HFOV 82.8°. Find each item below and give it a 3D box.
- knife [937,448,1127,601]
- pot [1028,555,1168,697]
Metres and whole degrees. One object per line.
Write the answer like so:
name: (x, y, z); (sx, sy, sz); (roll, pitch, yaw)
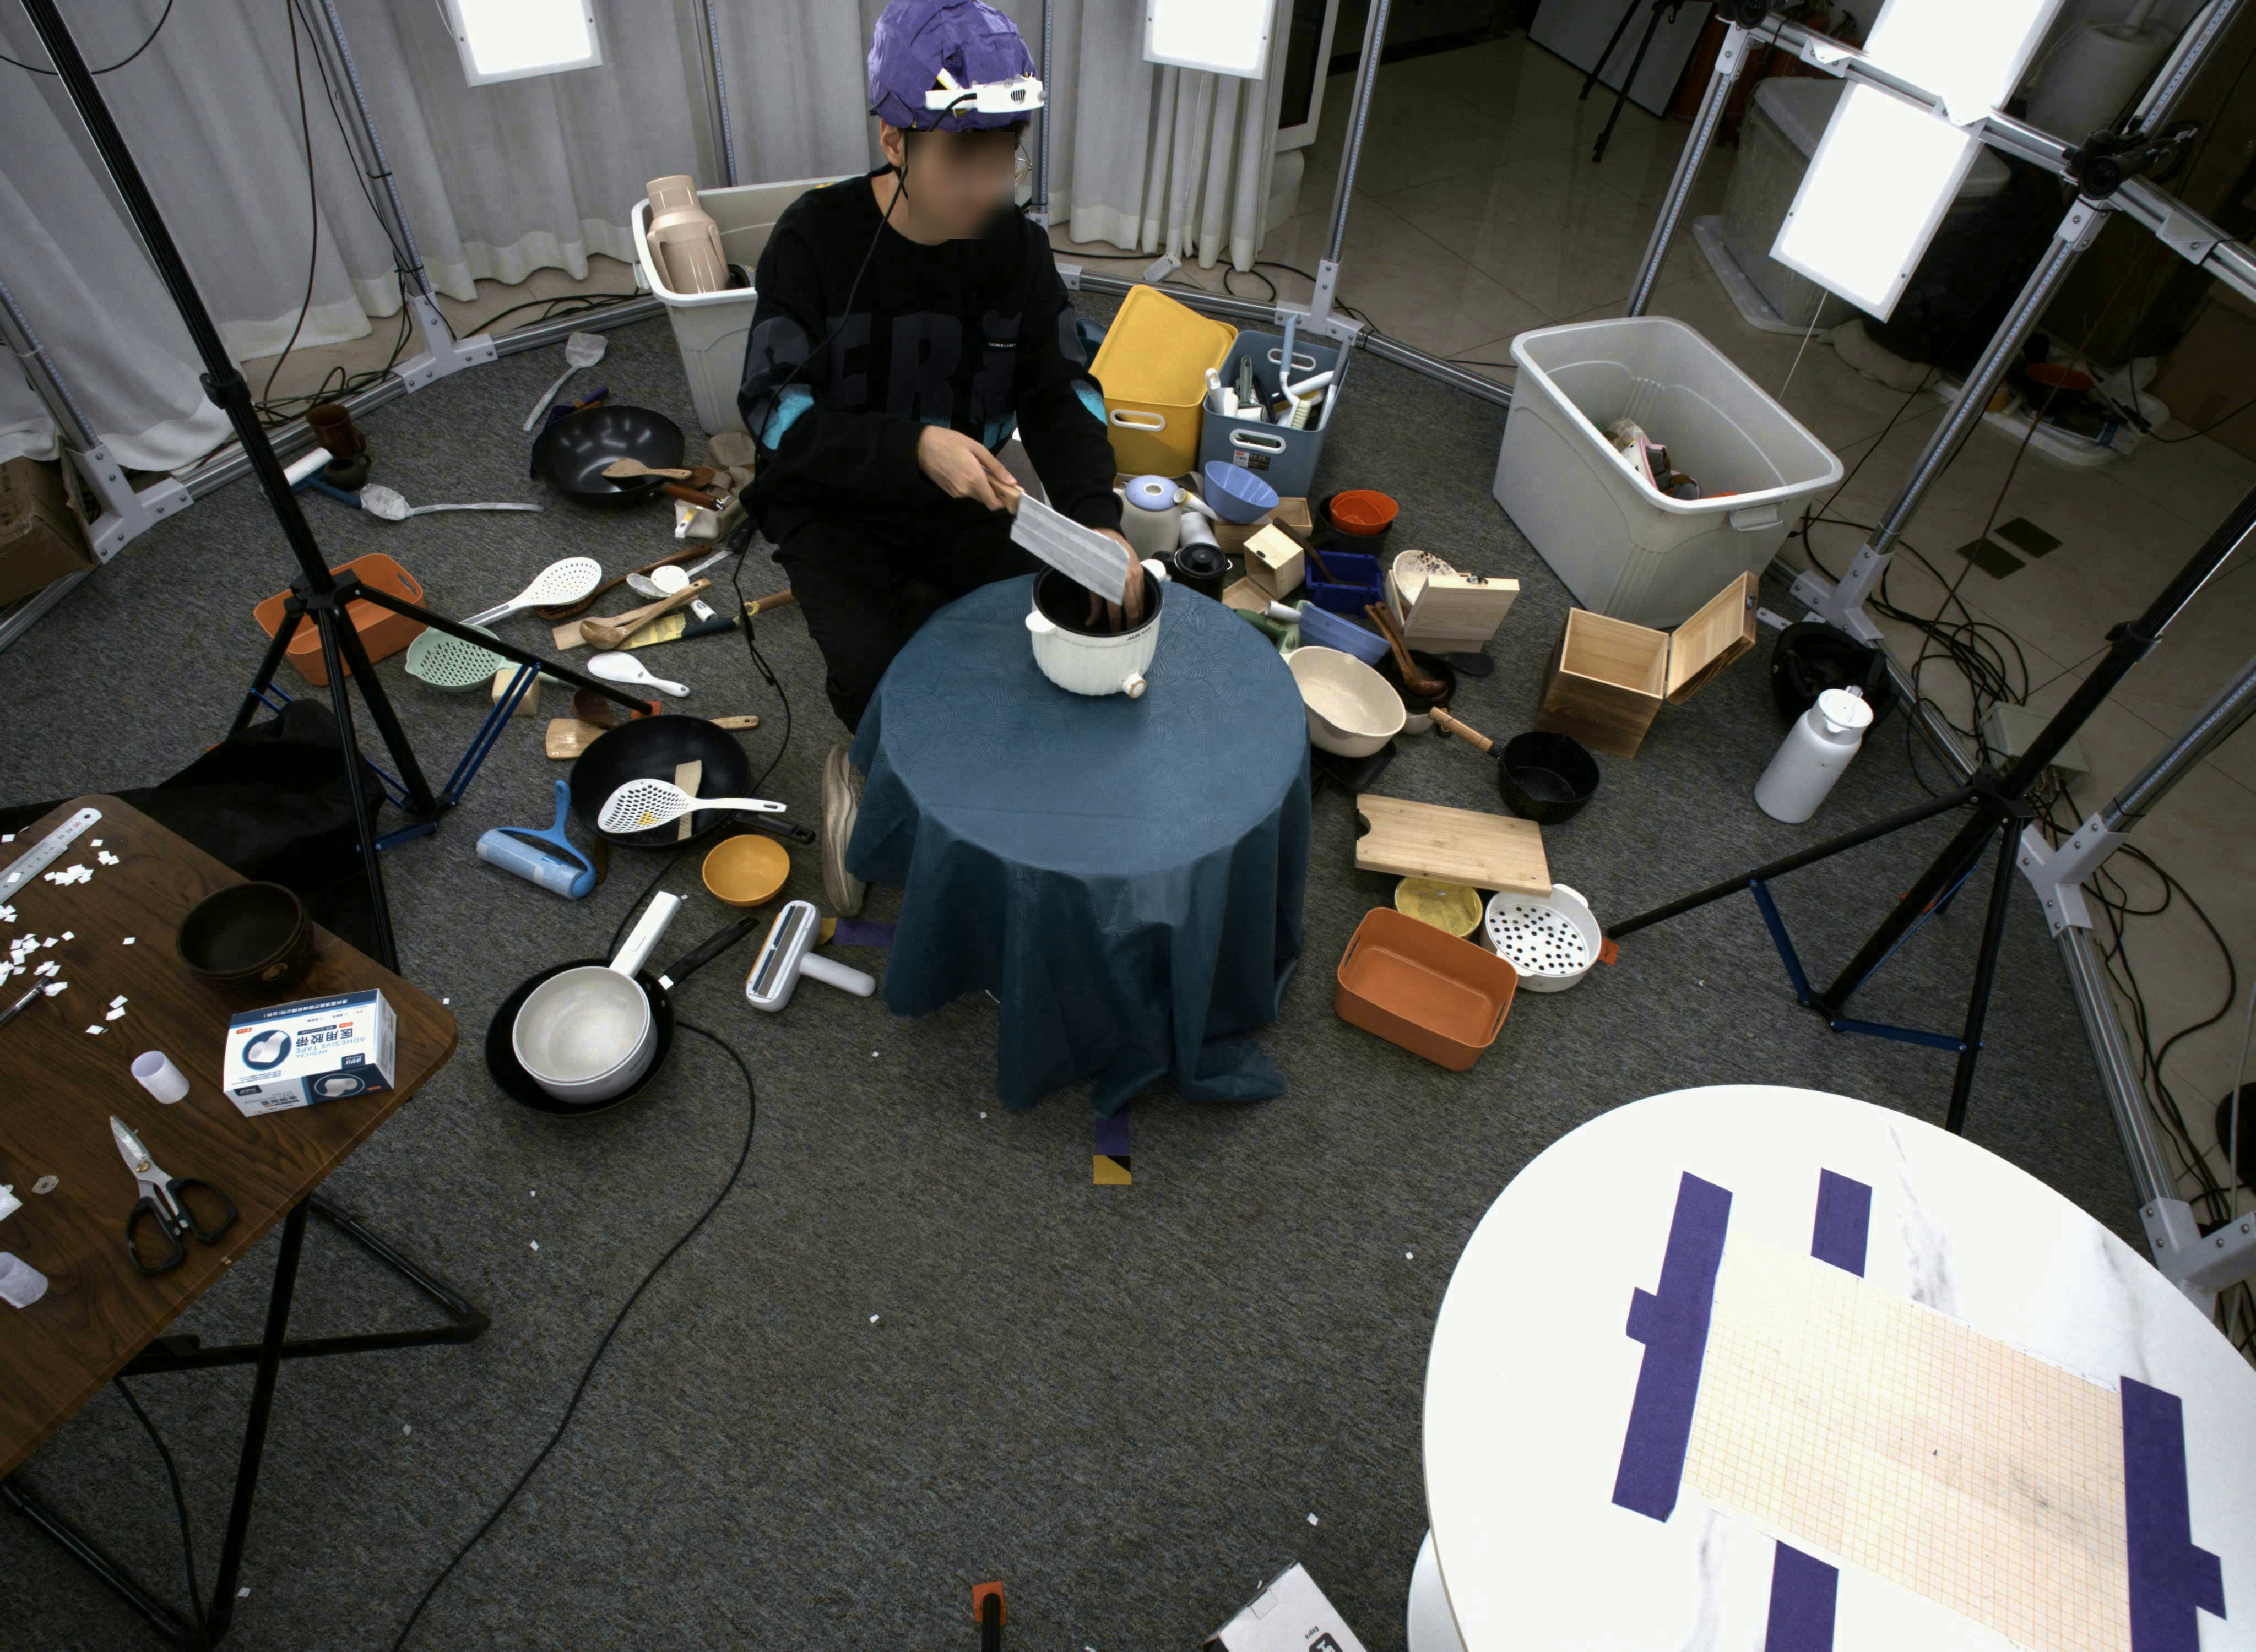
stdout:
knife: (-0.126, -0.413, 1.728); (0.317, 0.111, 0.022); (35, 53, 11)
pot: (-0.038, -0.277, 1.815); (0.242, 0.139, 0.194); (-31, 55, -27)
